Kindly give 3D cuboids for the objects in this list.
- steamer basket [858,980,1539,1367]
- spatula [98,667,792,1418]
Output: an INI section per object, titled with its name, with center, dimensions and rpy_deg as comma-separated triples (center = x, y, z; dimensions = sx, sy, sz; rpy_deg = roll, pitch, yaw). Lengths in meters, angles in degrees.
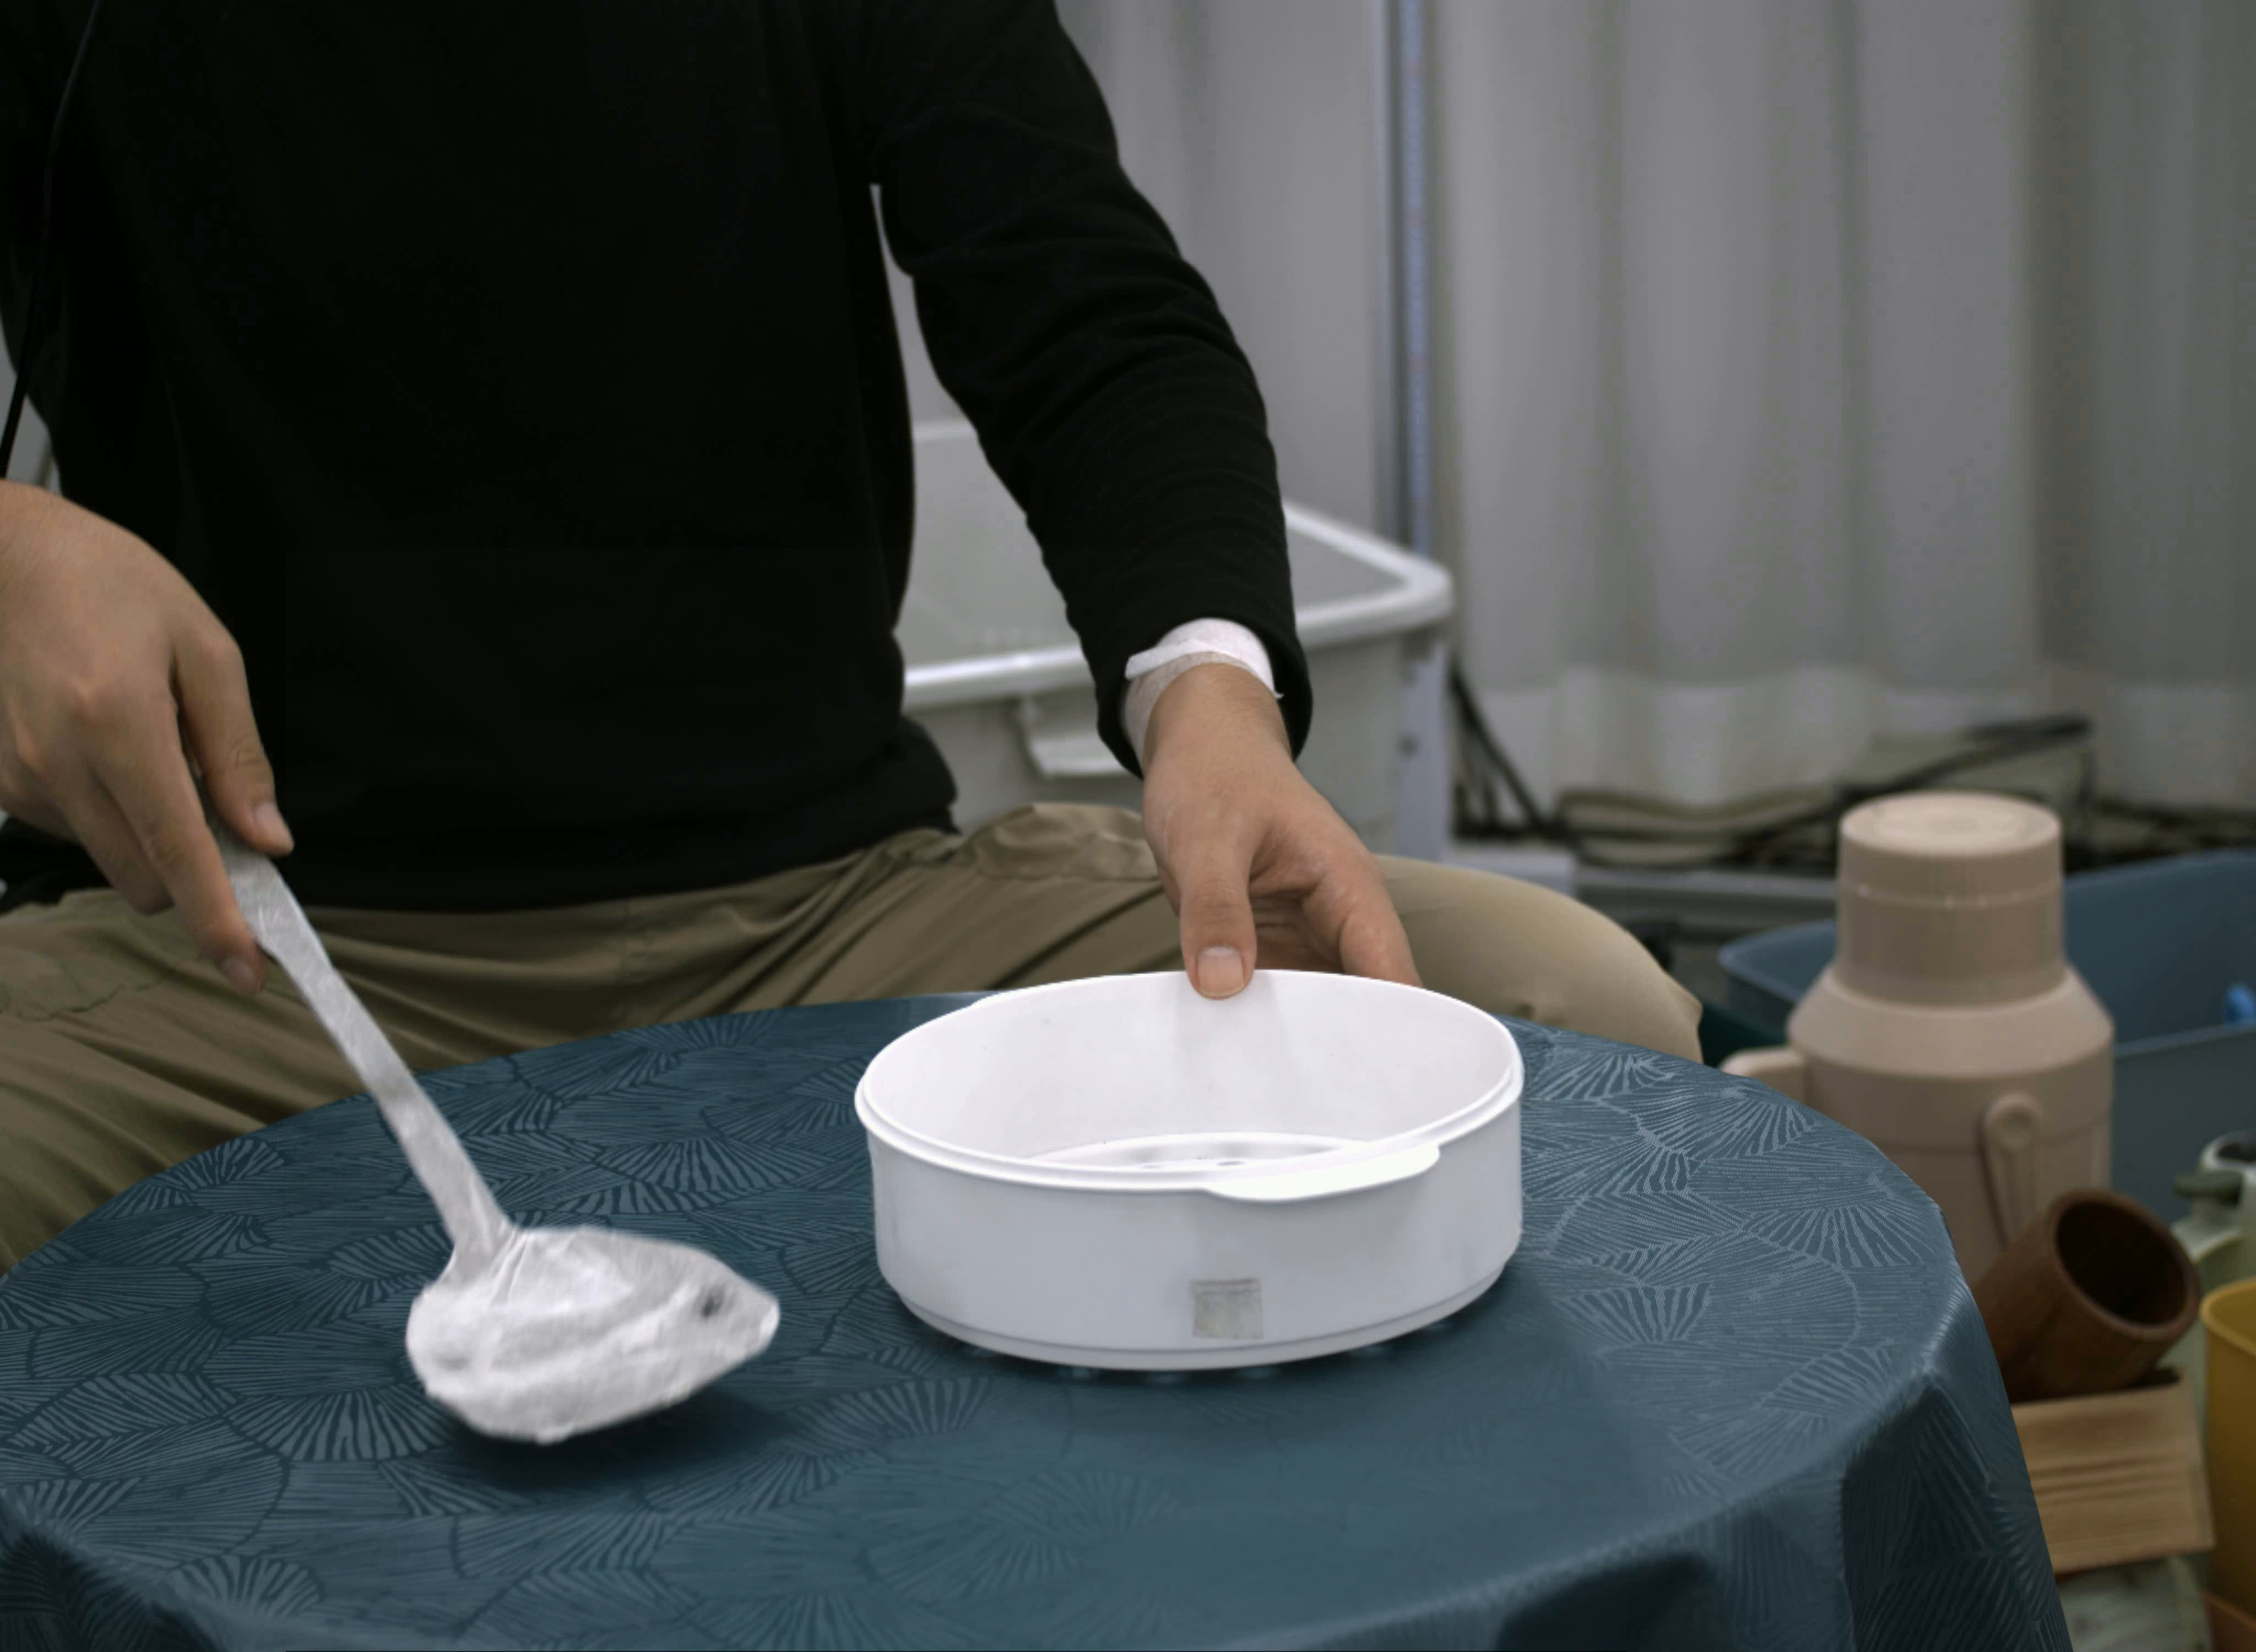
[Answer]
[steamer basket]
center = 0.022, 0.103, 1.621
dimensions = 0.201, 0.069, 0.232
rpy_deg = -7, 14, -20
[spatula]
center = -0.224, 0.052, 1.613
dimensions = 0.098, 0.044, 0.369
rpy_deg = -21, 51, -26
